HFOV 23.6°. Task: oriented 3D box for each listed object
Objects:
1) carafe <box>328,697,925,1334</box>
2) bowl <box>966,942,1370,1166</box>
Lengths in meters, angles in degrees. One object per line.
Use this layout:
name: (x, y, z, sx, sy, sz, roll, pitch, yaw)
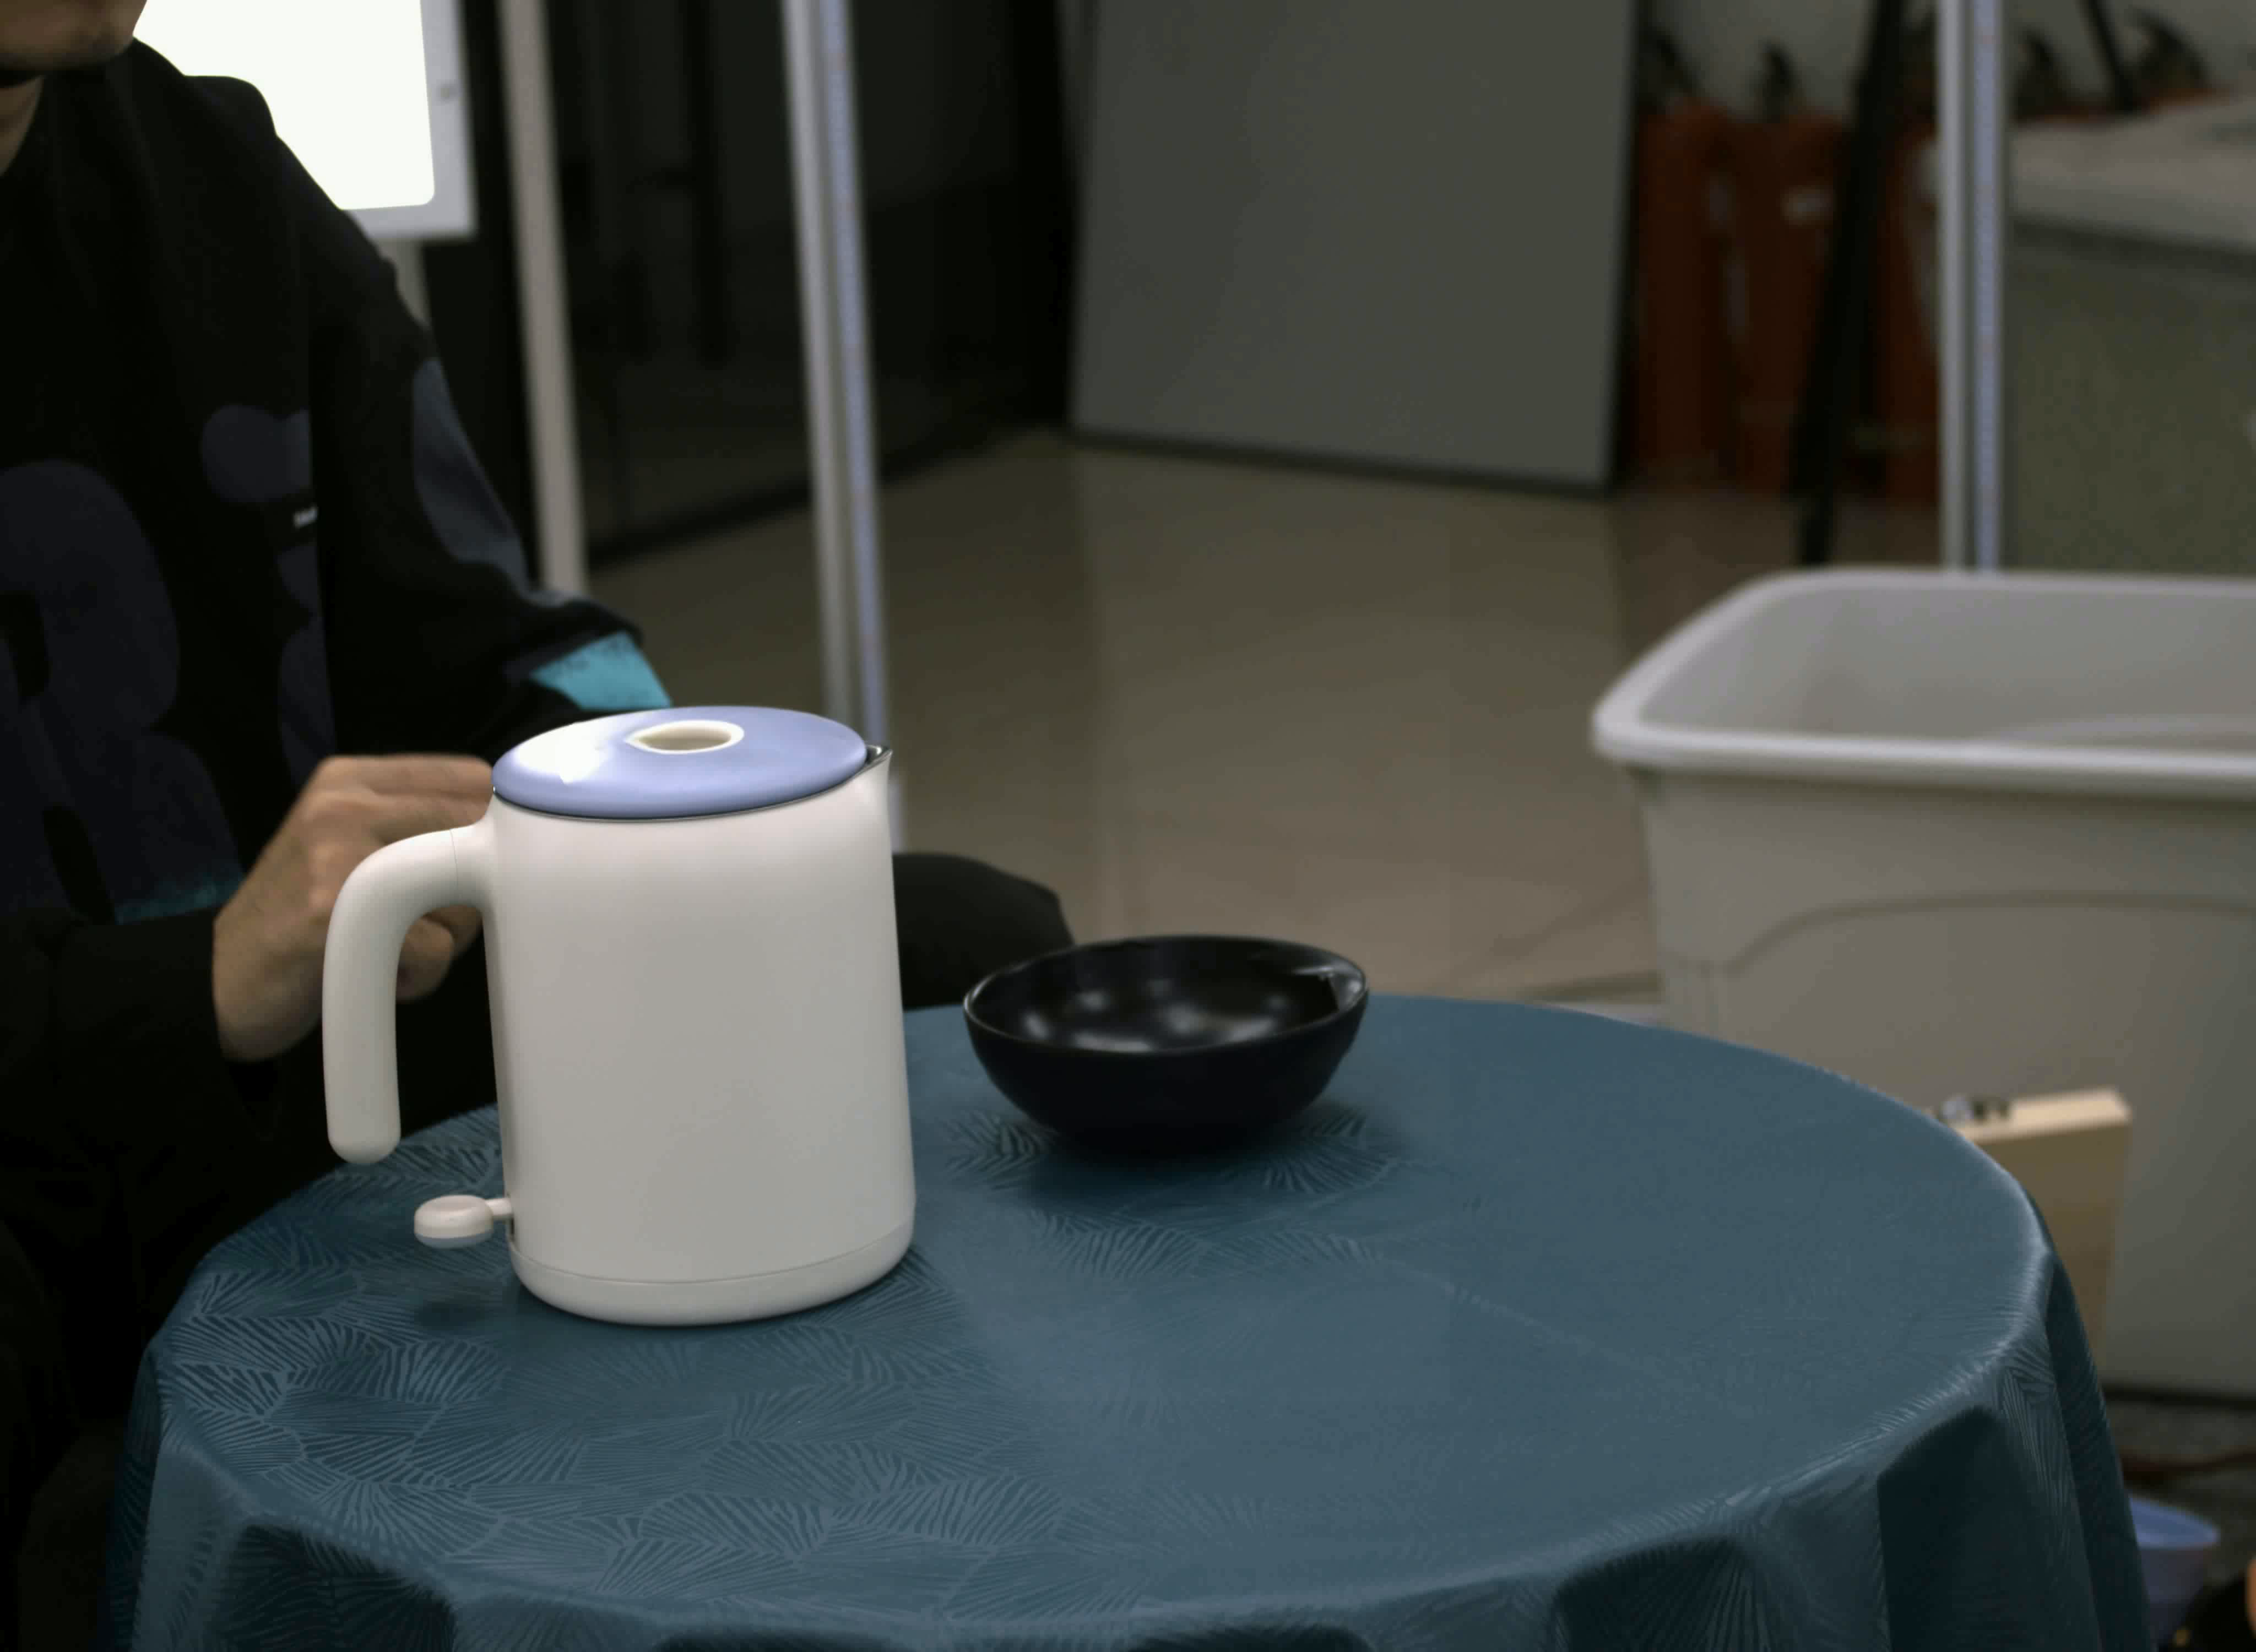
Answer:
carafe: (-0.158, 0.063, 1.699, 0.187, 0.184, 0.133, -10, 13, -13)
bowl: (0.015, 0.081, 1.830, 0.138, 0.050, 0.140, -6, 13, 0)
